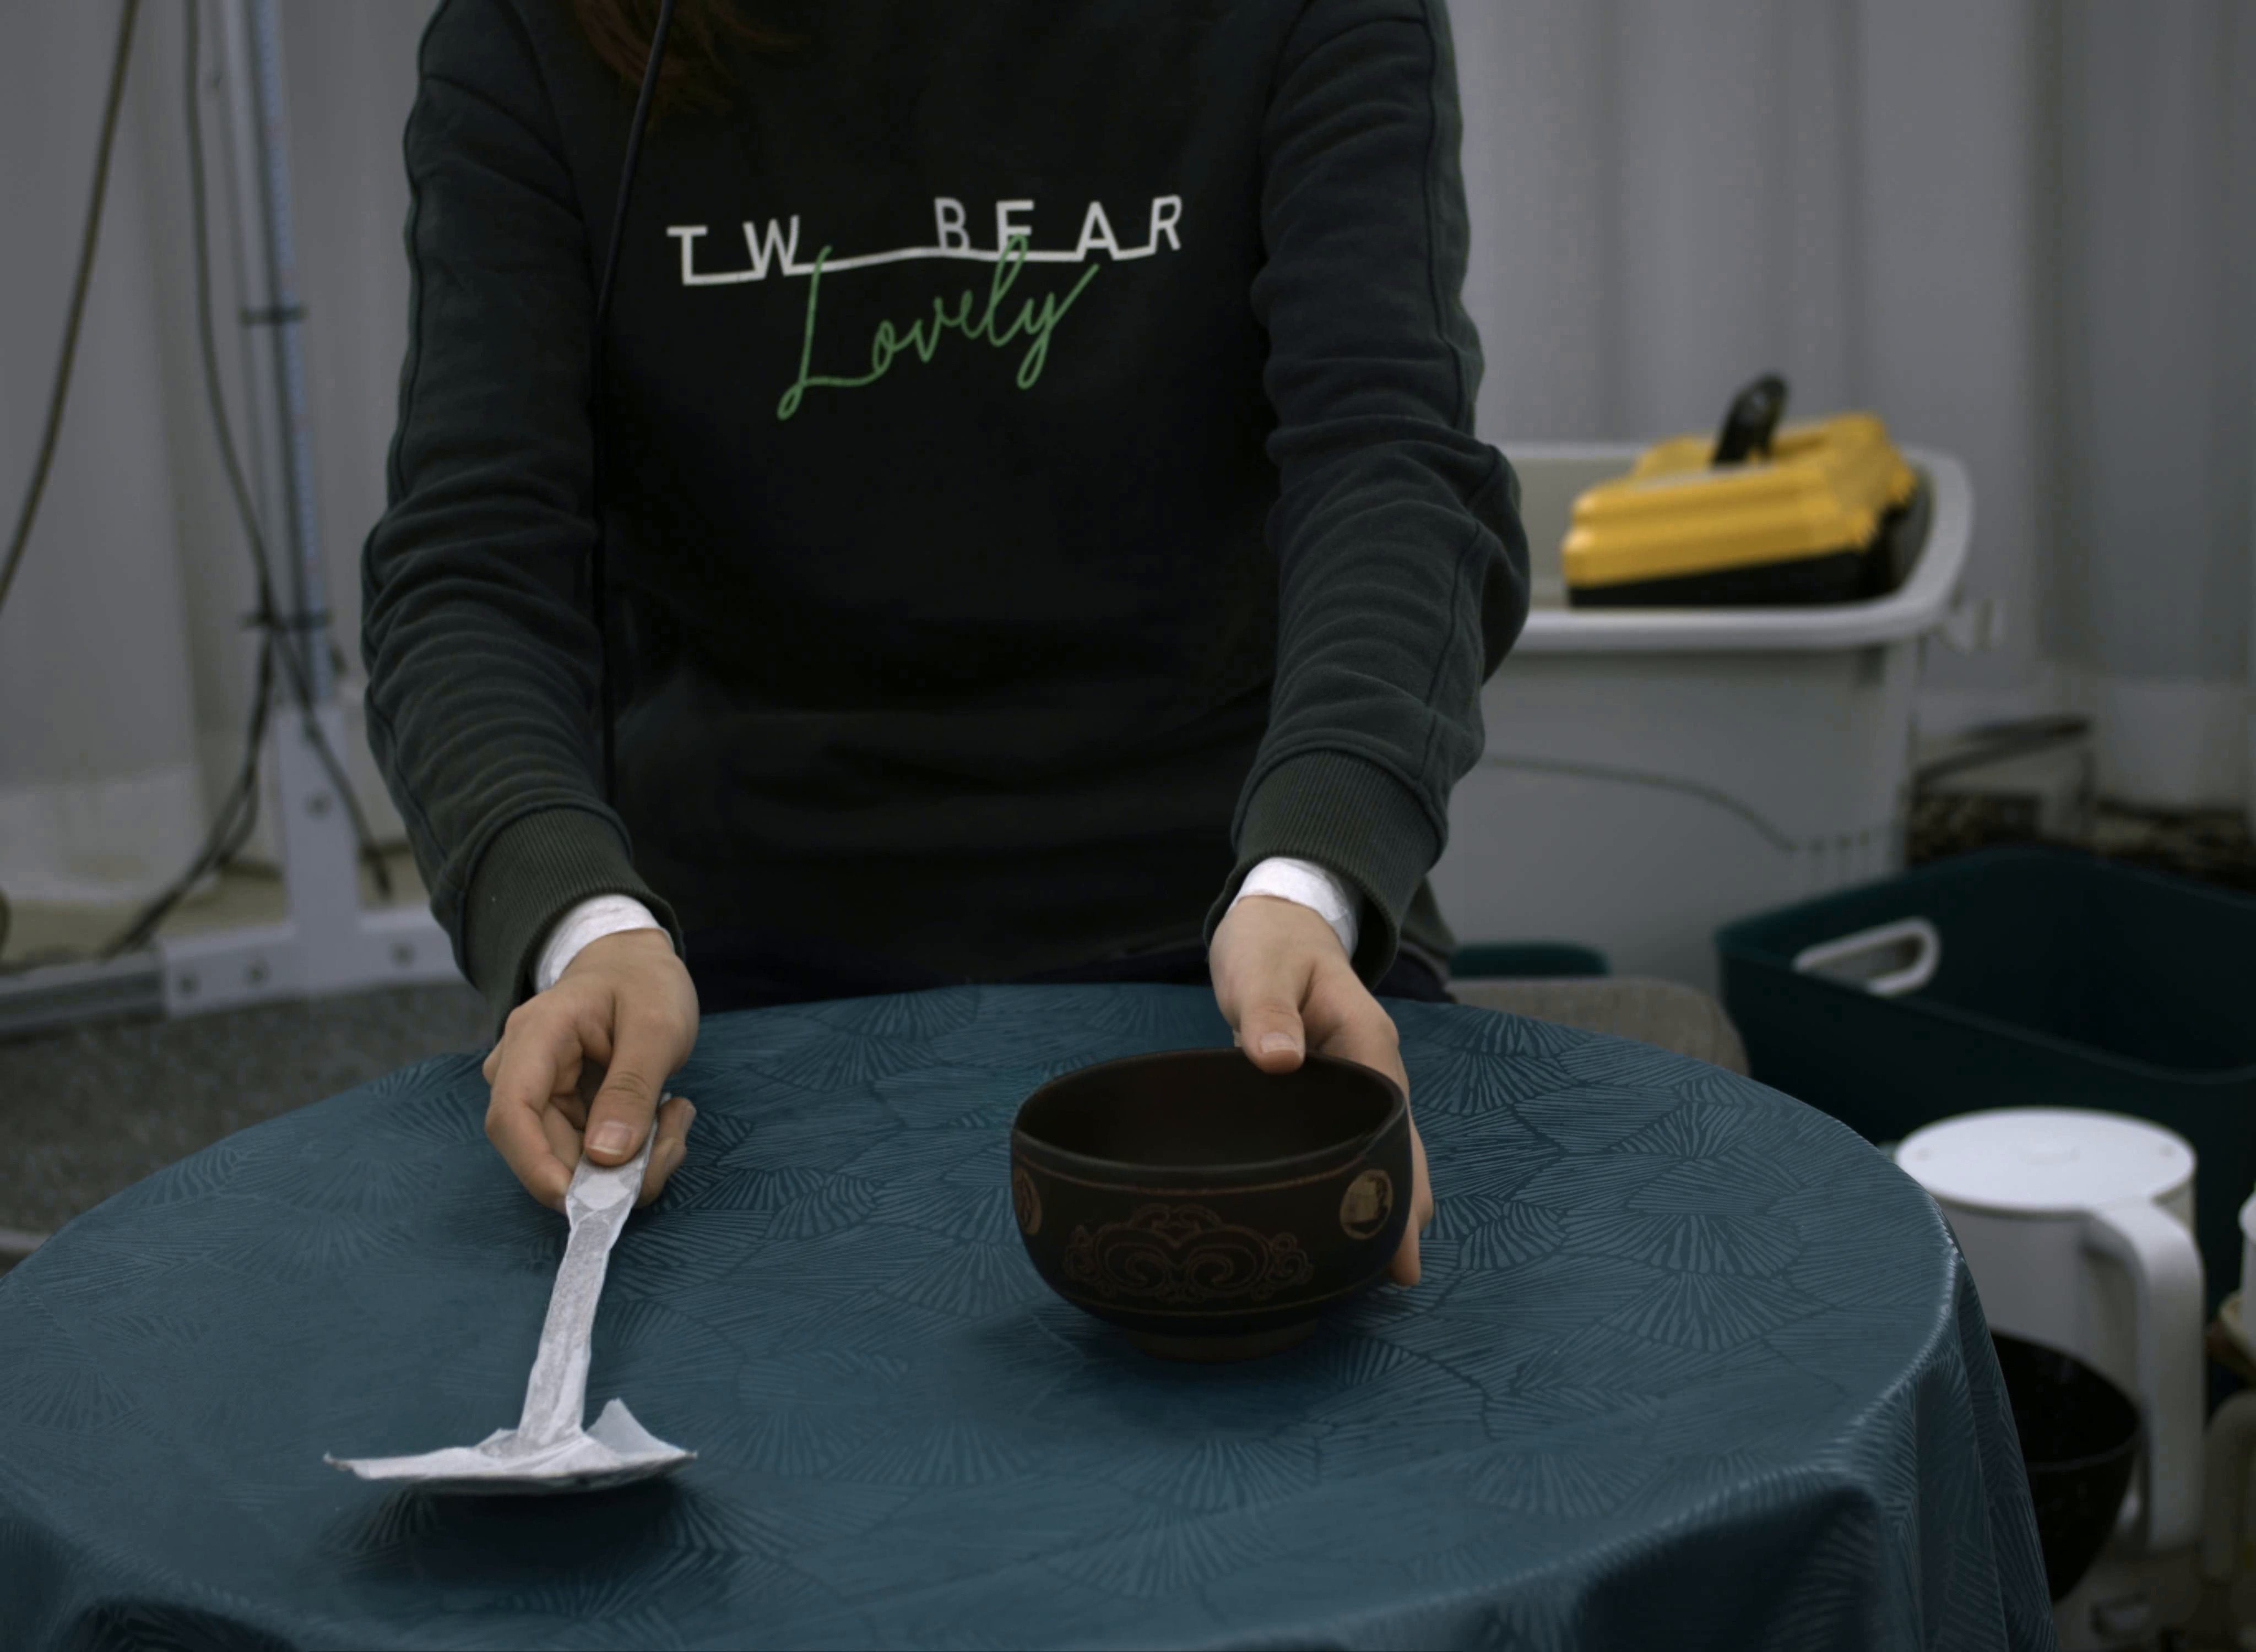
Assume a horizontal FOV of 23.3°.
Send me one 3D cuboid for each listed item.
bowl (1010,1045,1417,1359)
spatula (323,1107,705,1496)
[{"bbox_3d":[0.025,0.112,1.581,0.117,0.069,0.119,-1,14,0],"label":"bowl"},{"bbox_3d":[-0.156,0.130,1.593,0.098,0.044,0.368,-3,18,3],"label":"spatula"}]
